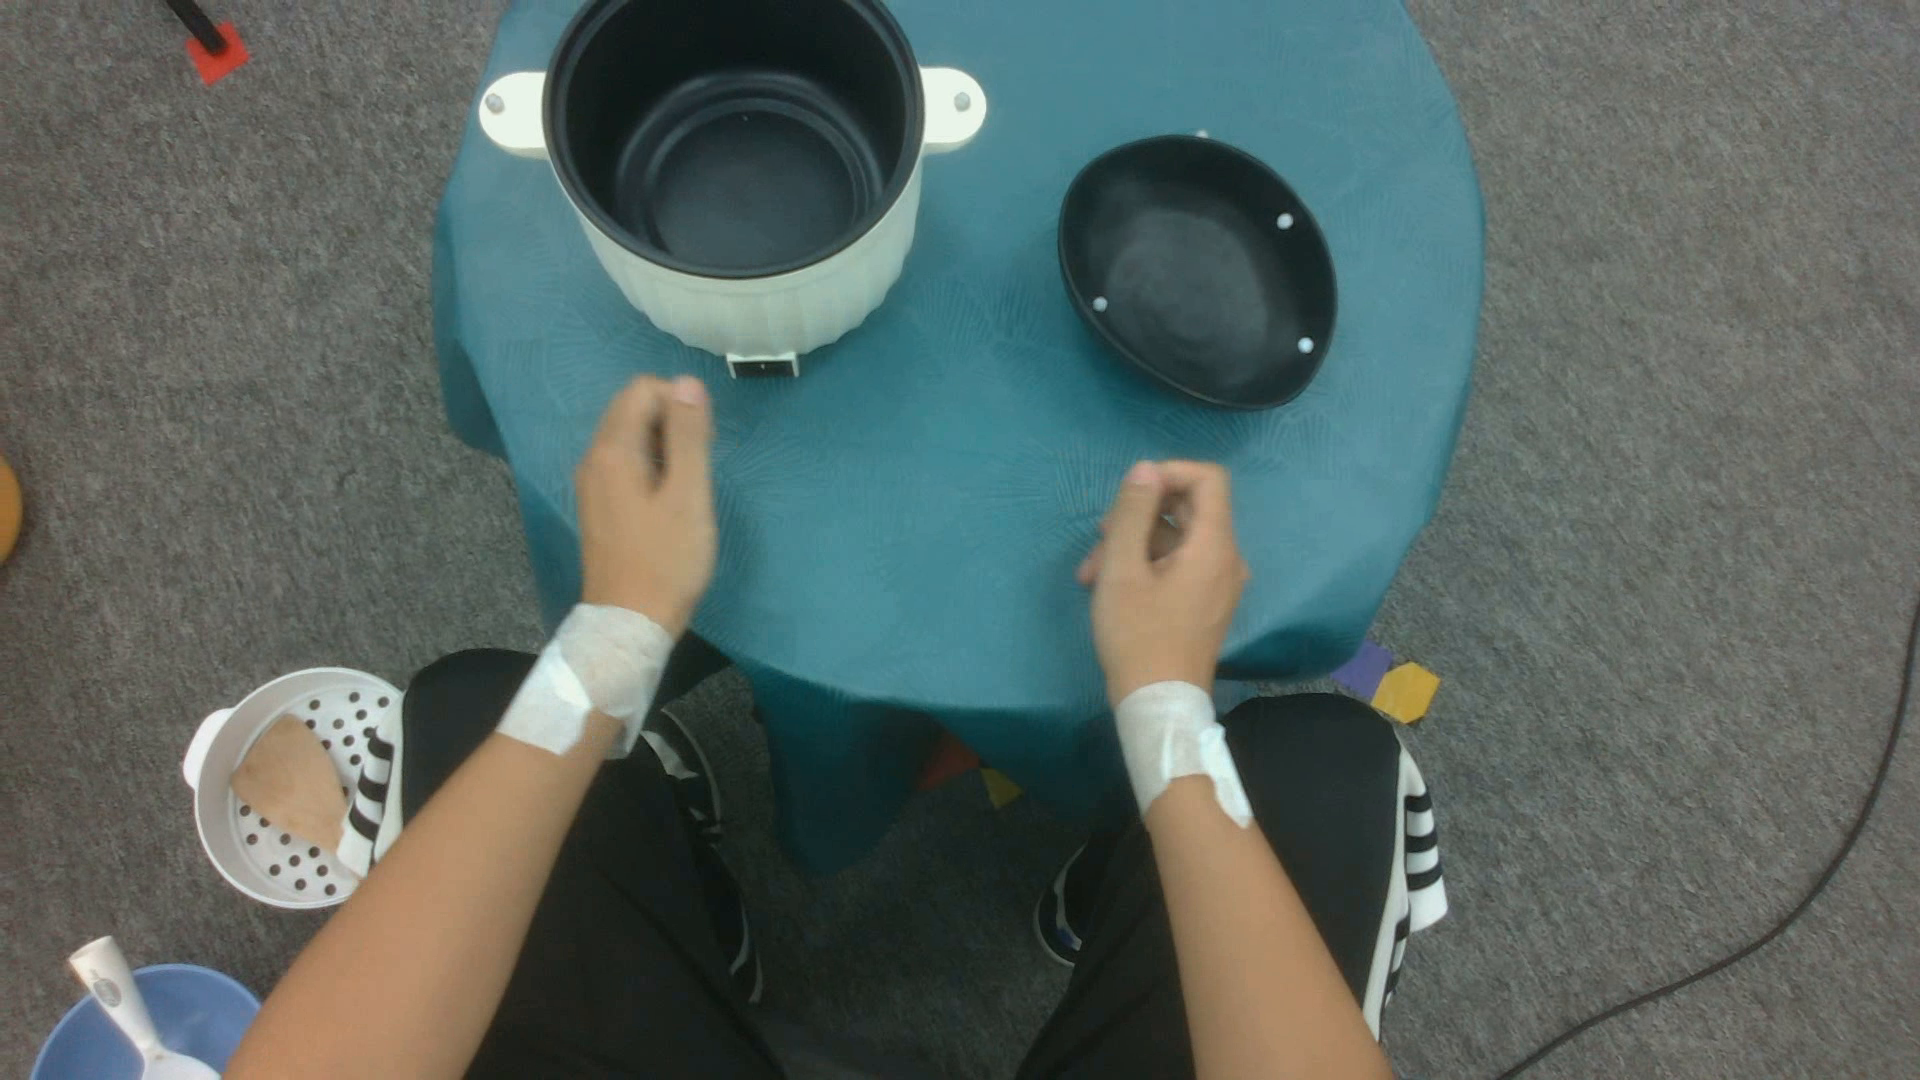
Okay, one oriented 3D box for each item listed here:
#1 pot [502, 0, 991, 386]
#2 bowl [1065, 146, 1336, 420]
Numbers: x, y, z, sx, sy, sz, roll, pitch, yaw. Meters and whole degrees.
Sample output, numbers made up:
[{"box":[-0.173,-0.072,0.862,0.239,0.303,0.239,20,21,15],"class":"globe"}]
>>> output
[{"box":[-0.108,-0.193,0.740,0.240,0.142,0.191,-3,78,-4],"class":"pot"},{"box":[0.132,-0.137,0.774,0.137,0.066,0.170,-40,80,-11],"class":"bowl"}]
